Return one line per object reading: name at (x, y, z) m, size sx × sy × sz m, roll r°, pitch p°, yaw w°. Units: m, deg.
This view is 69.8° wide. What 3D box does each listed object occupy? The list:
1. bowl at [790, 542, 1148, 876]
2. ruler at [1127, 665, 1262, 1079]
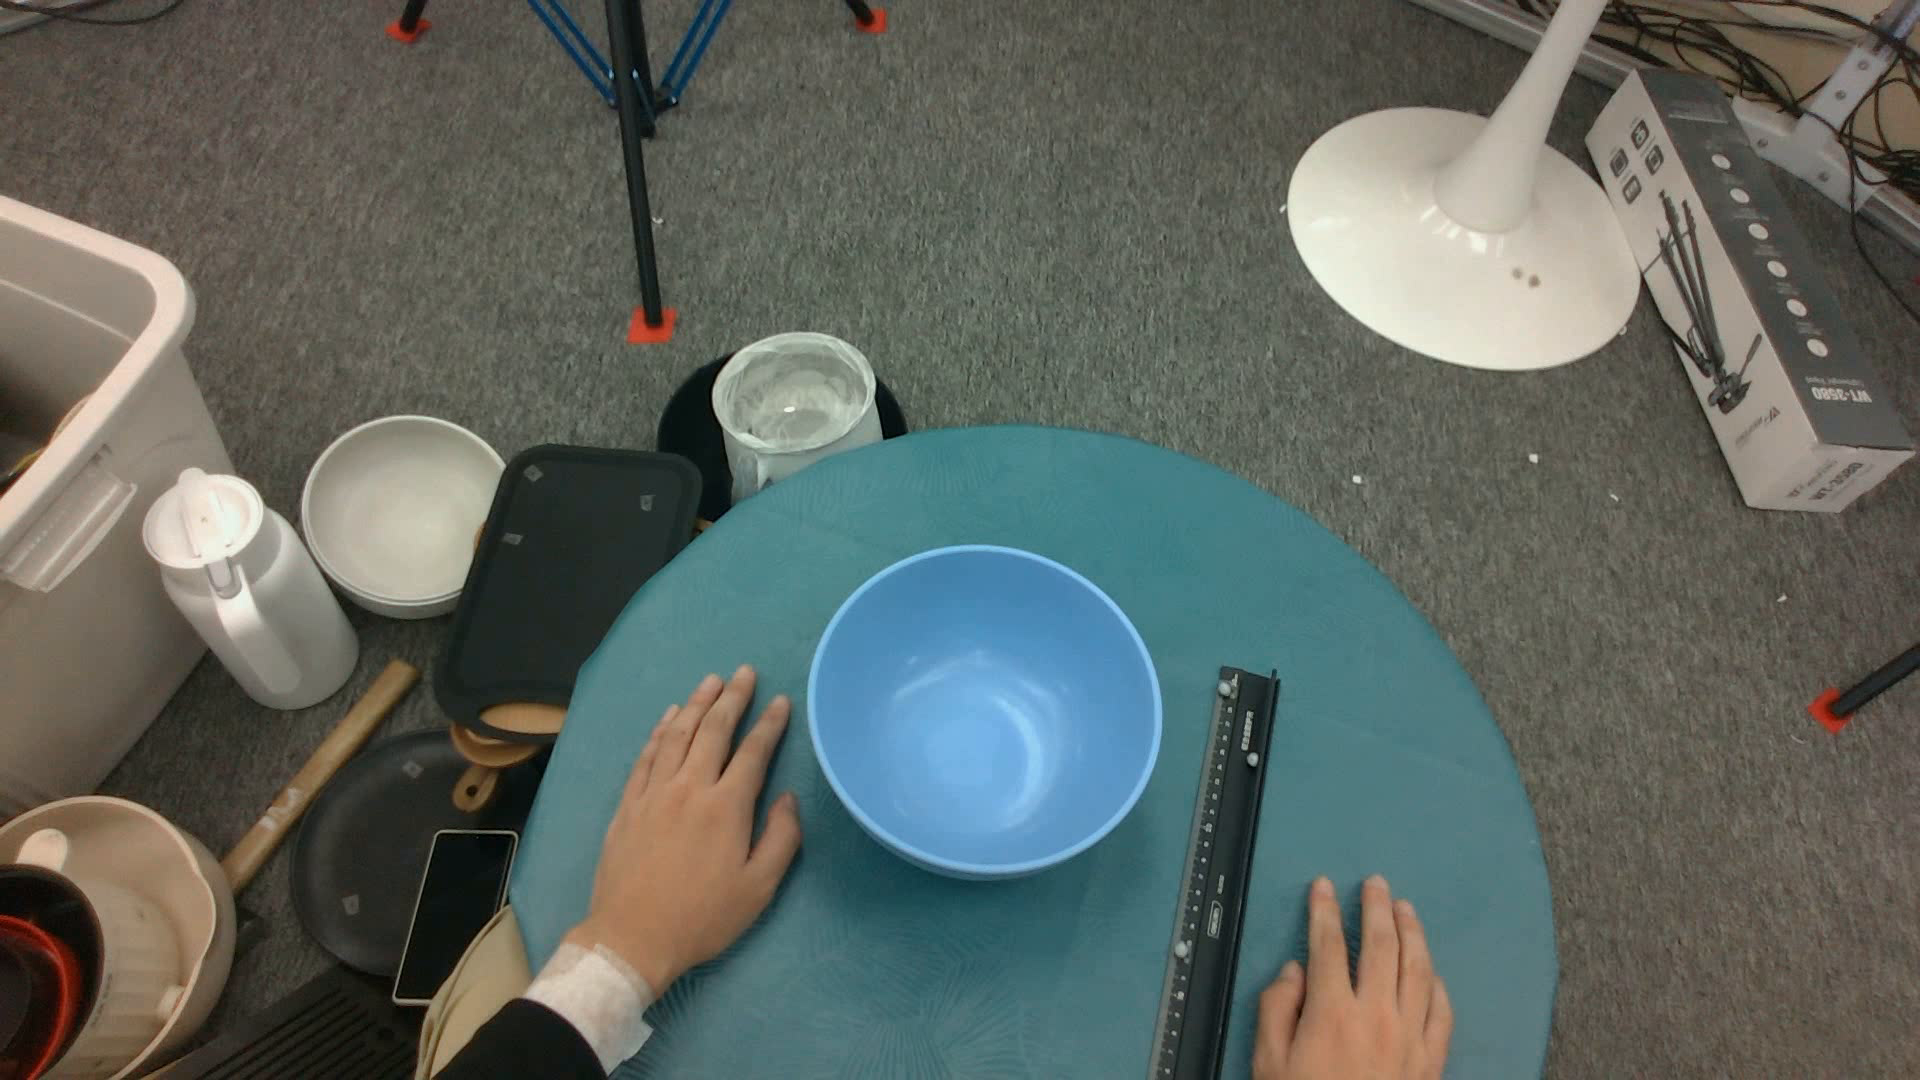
bowl at (0.002, 0.108, 0.790) m, size 0.196 × 0.095 × 0.197 m, roll 3°, pitch 56°, yaw -5°
ruler at (0.135, 0.205, 0.792) m, size 0.039 × 0.017 × 0.314 m, roll 13°, pitch 57°, yaw 8°
